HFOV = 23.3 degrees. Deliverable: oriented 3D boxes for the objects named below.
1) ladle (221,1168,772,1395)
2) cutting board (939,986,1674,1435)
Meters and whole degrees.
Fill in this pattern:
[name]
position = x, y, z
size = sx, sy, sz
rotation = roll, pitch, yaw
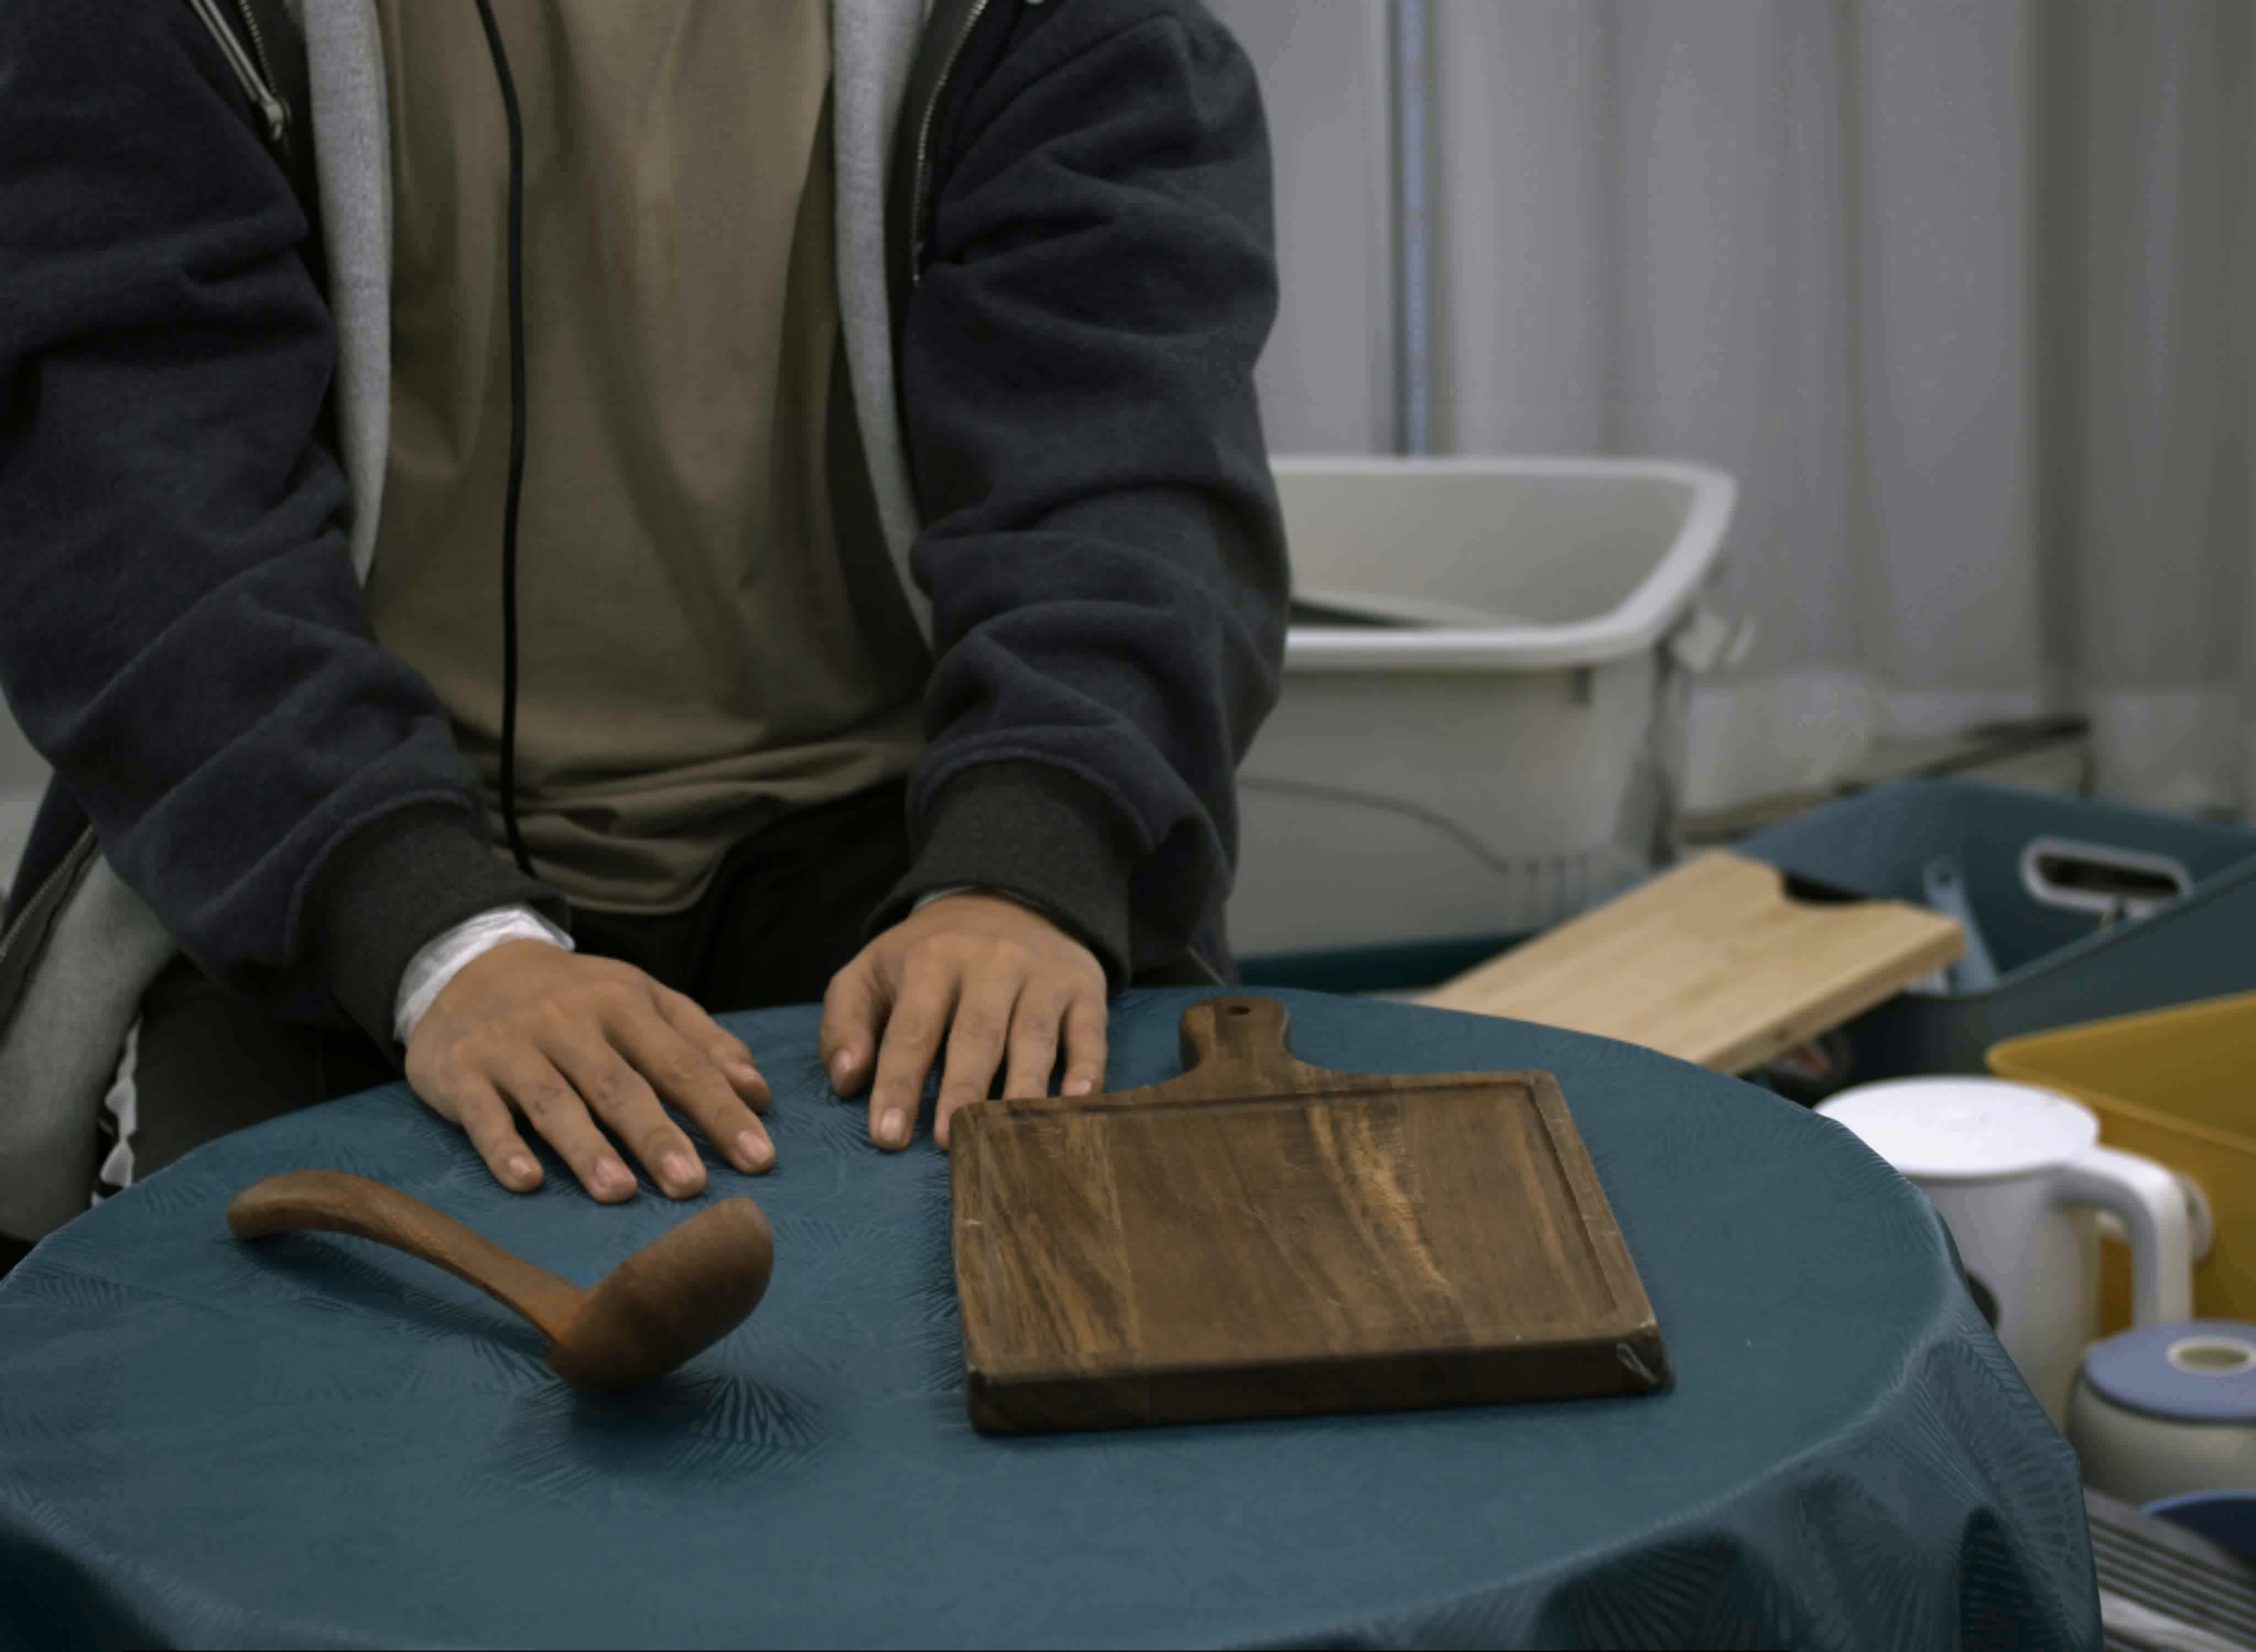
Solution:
[ladle]
position = -0.198, 0.118, 1.619
size = 0.076, 0.064, 0.262
rotation = -24, 24, -36
[cutting board]
position = 0.043, 0.110, 1.681
size = 0.200, 0.023, 0.355
rotation = -2, 15, -3
